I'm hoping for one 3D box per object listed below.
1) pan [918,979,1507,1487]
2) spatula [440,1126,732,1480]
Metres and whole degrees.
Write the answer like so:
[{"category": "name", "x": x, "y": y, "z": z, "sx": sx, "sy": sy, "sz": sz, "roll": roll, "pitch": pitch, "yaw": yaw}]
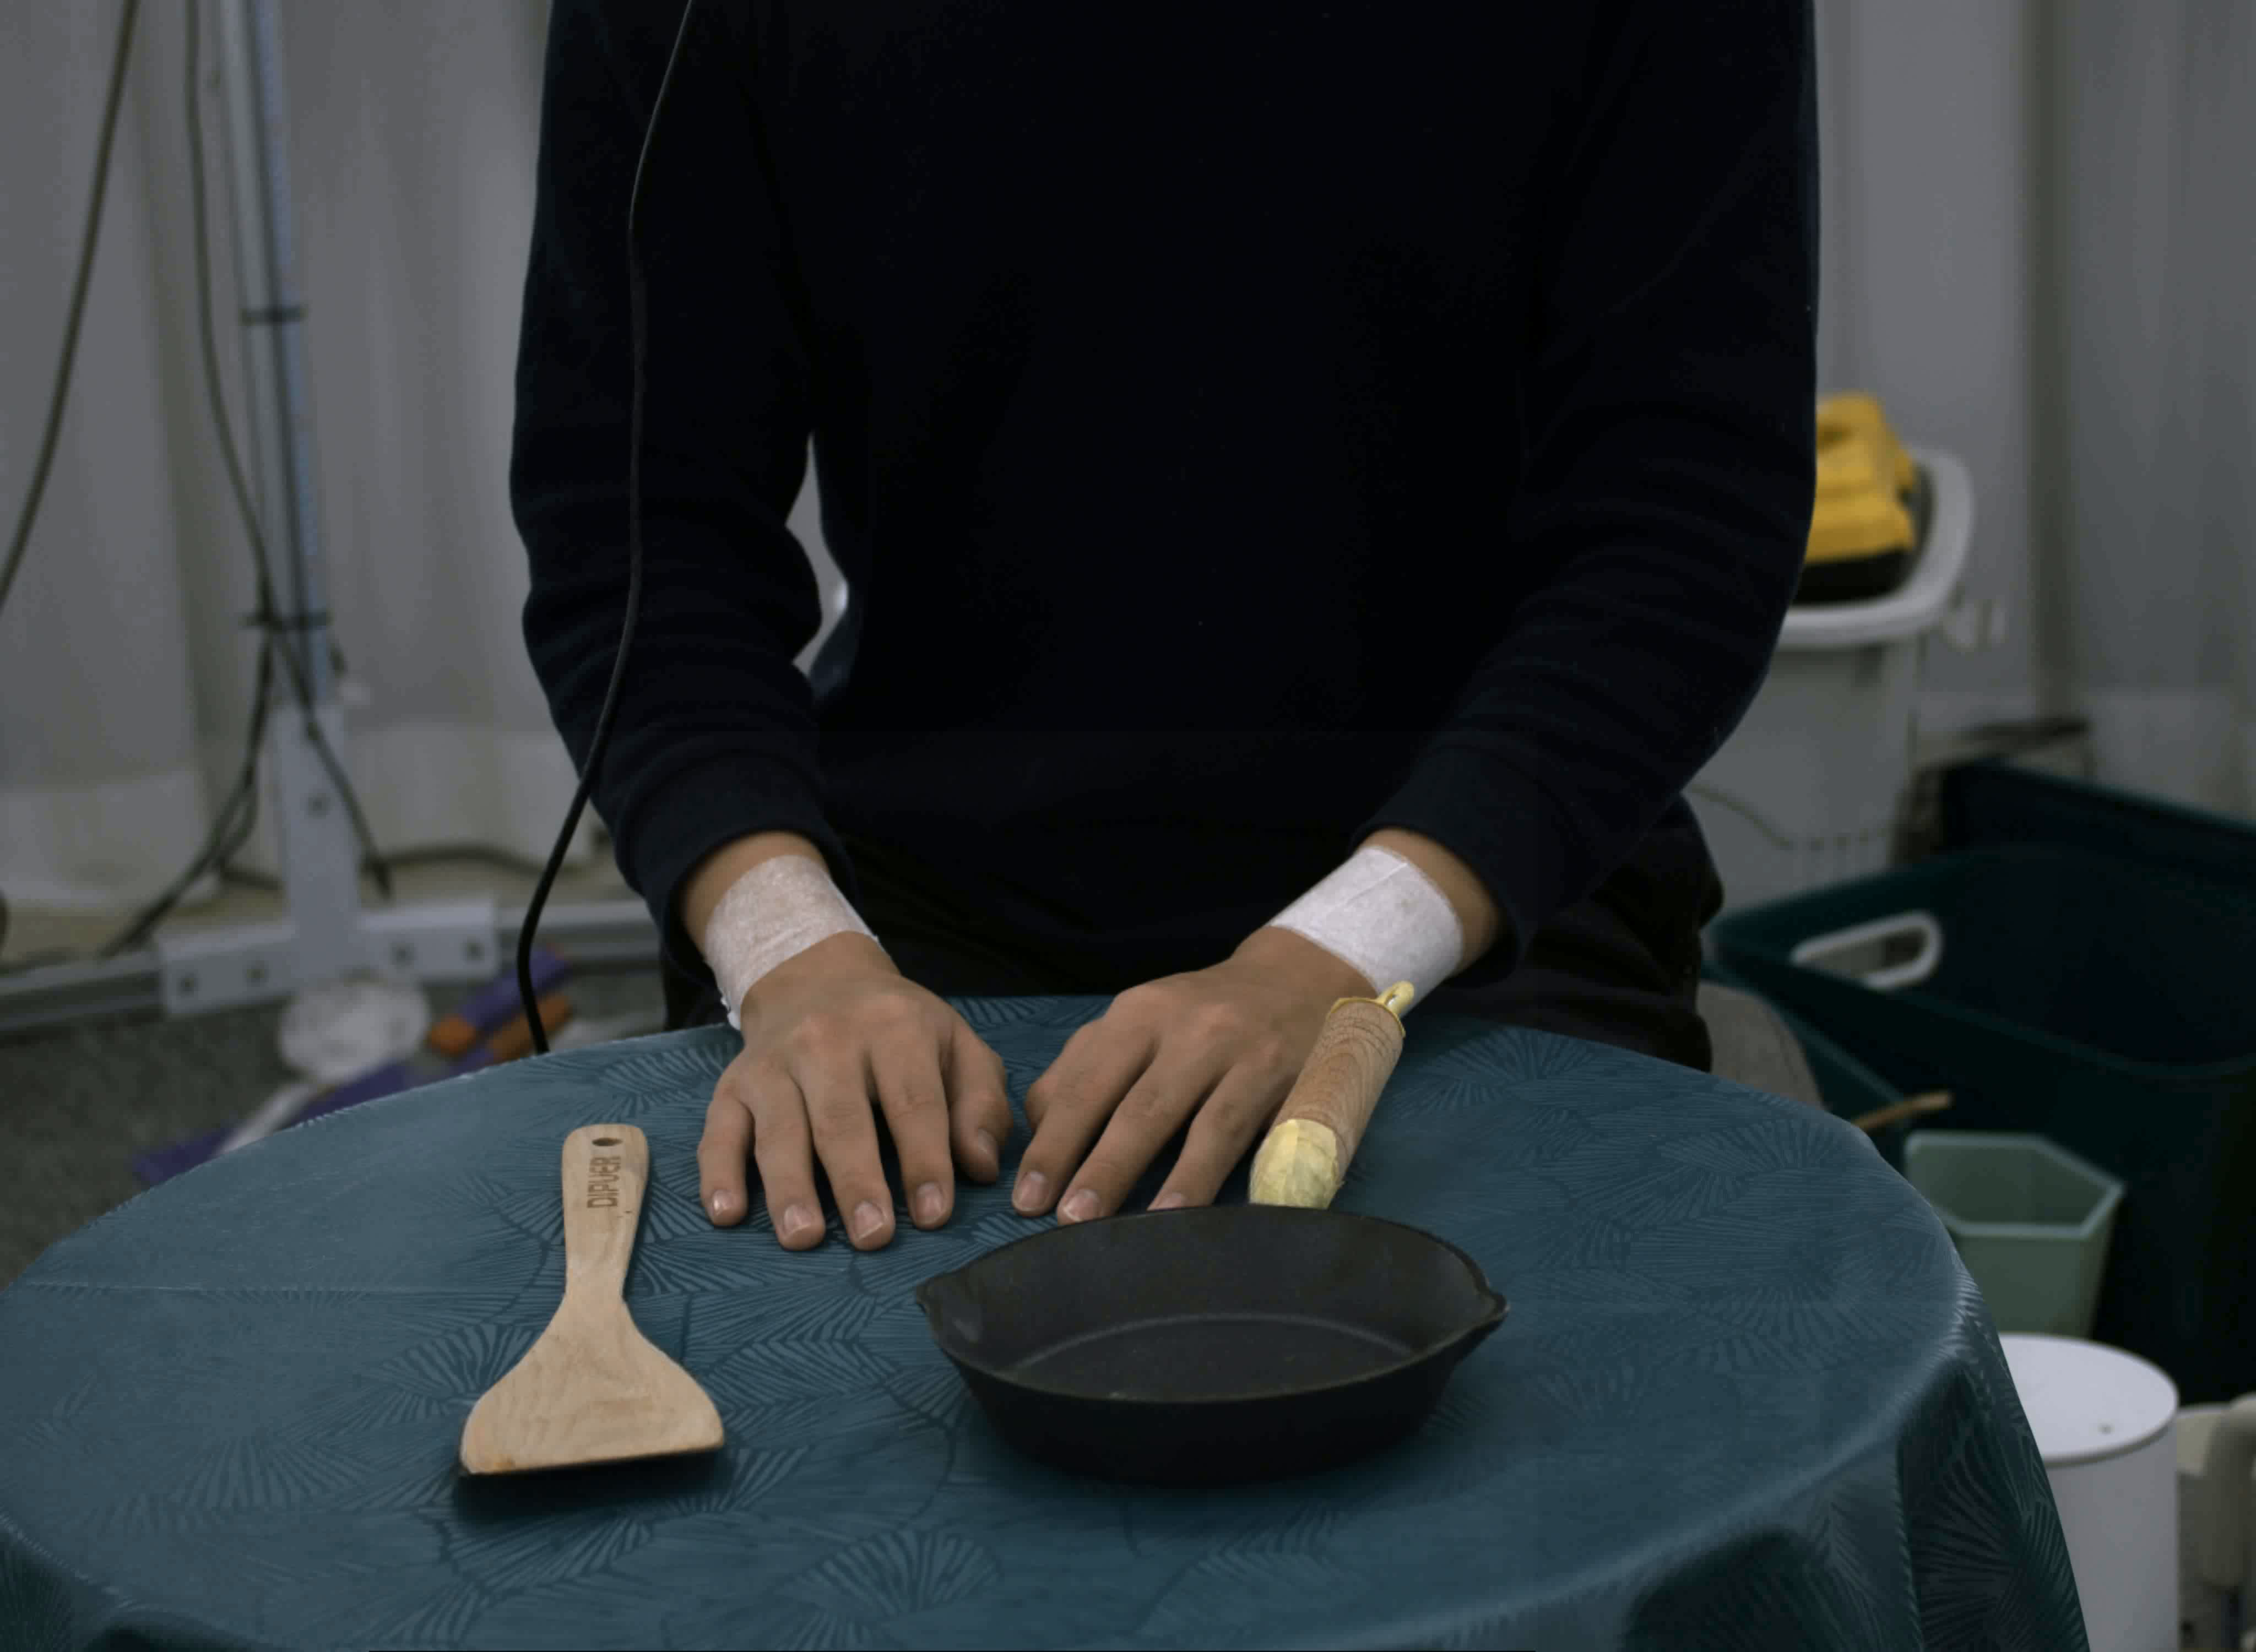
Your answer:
[{"category": "pan", "x": 0.045, "y": 0.116, "z": 1.604, "sx": 0.169, "sy": 0.049, "sz": 0.326, "roll": 1, "pitch": 17, "yaw": 16}, {"category": "spatula", "x": -0.158, "y": 0.138, "z": 1.629, "sx": 0.079, "sy": 0.016, "sz": 0.330, "roll": -3, "pitch": 15, "yaw": -3}]
